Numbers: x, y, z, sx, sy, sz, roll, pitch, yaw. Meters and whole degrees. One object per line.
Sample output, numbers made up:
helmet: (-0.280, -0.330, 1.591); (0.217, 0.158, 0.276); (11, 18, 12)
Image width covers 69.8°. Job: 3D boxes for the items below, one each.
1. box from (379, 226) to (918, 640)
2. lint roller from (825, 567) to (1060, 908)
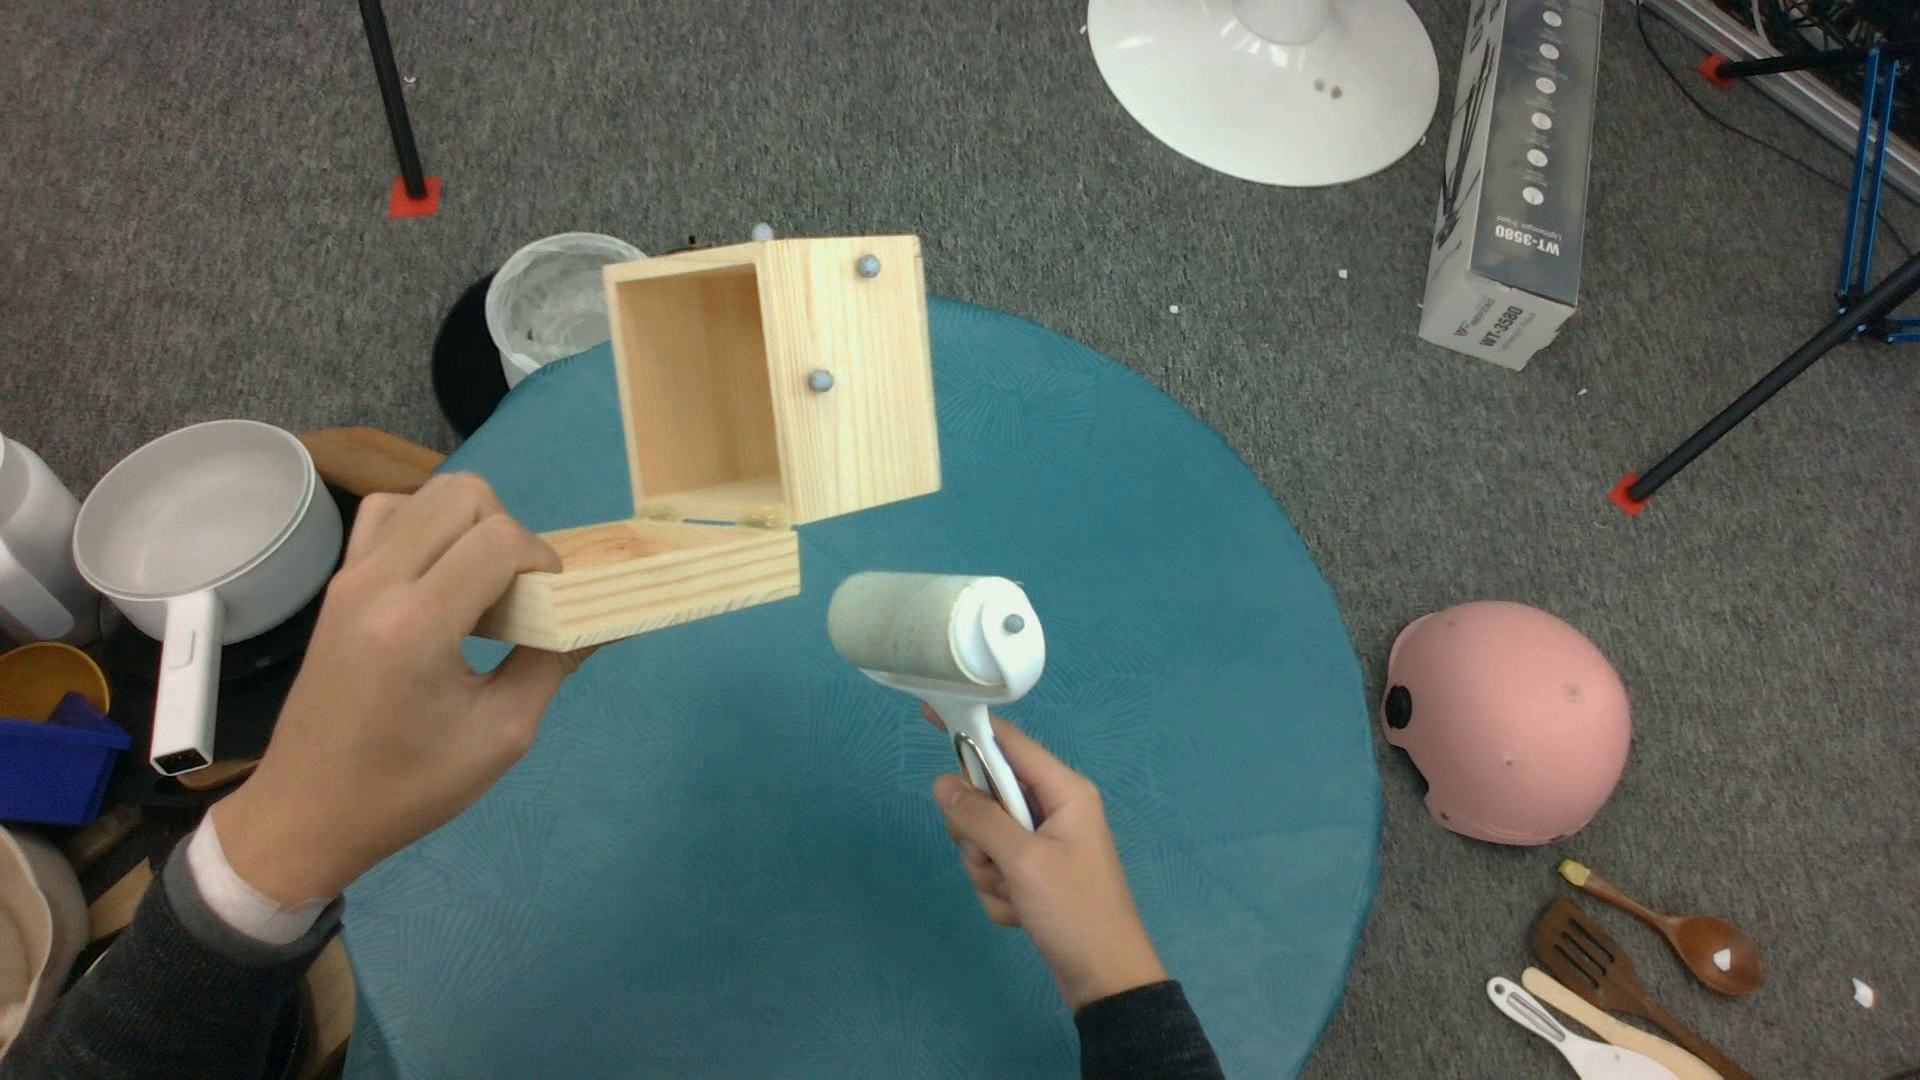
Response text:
box: (-0.116, -0.050, 0.518); (0.185, 0.102, 0.133); (-17, 106, -49)
lint roller: (0.014, 0.091, 0.643); (0.050, 0.132, 0.180); (-41, 110, -32)
